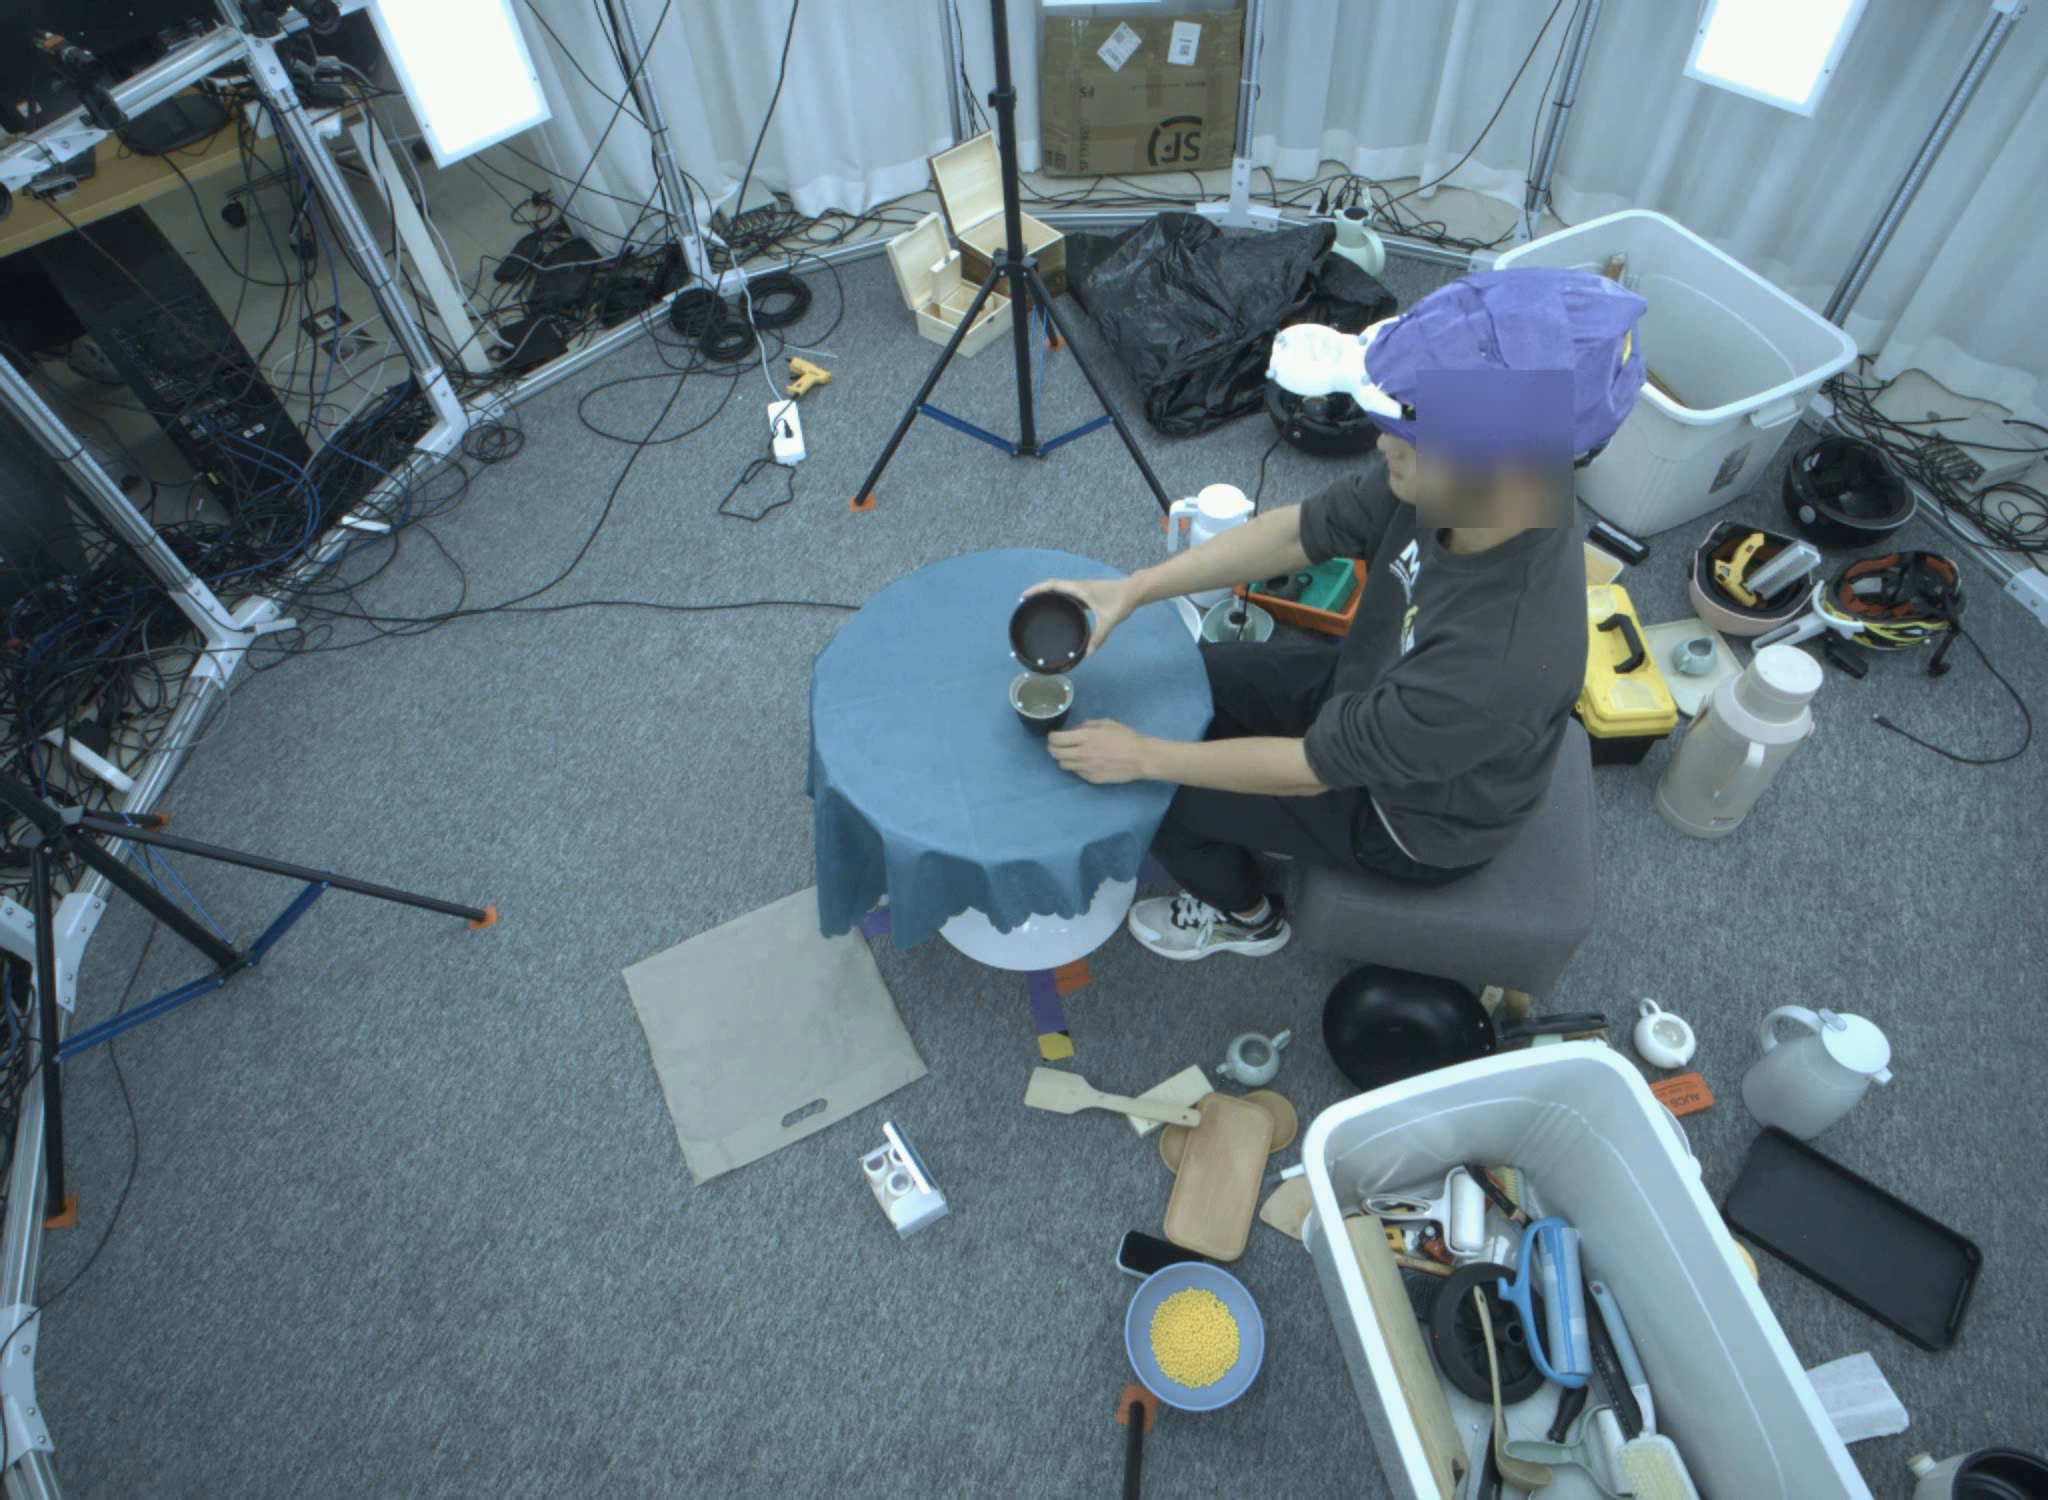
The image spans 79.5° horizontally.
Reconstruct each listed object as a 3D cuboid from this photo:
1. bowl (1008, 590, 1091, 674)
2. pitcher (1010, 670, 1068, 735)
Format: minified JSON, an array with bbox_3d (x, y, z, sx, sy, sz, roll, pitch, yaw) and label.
[{"bbox_3d":[0.038,-0.164,1.764,0.118,0.070,0.117,0,75,3],"label":"bowl"},{"bbox_3d":[0.025,-0.067,1.786,0.083,0.072,0.096,14,57,14],"label":"pitcher"}]
